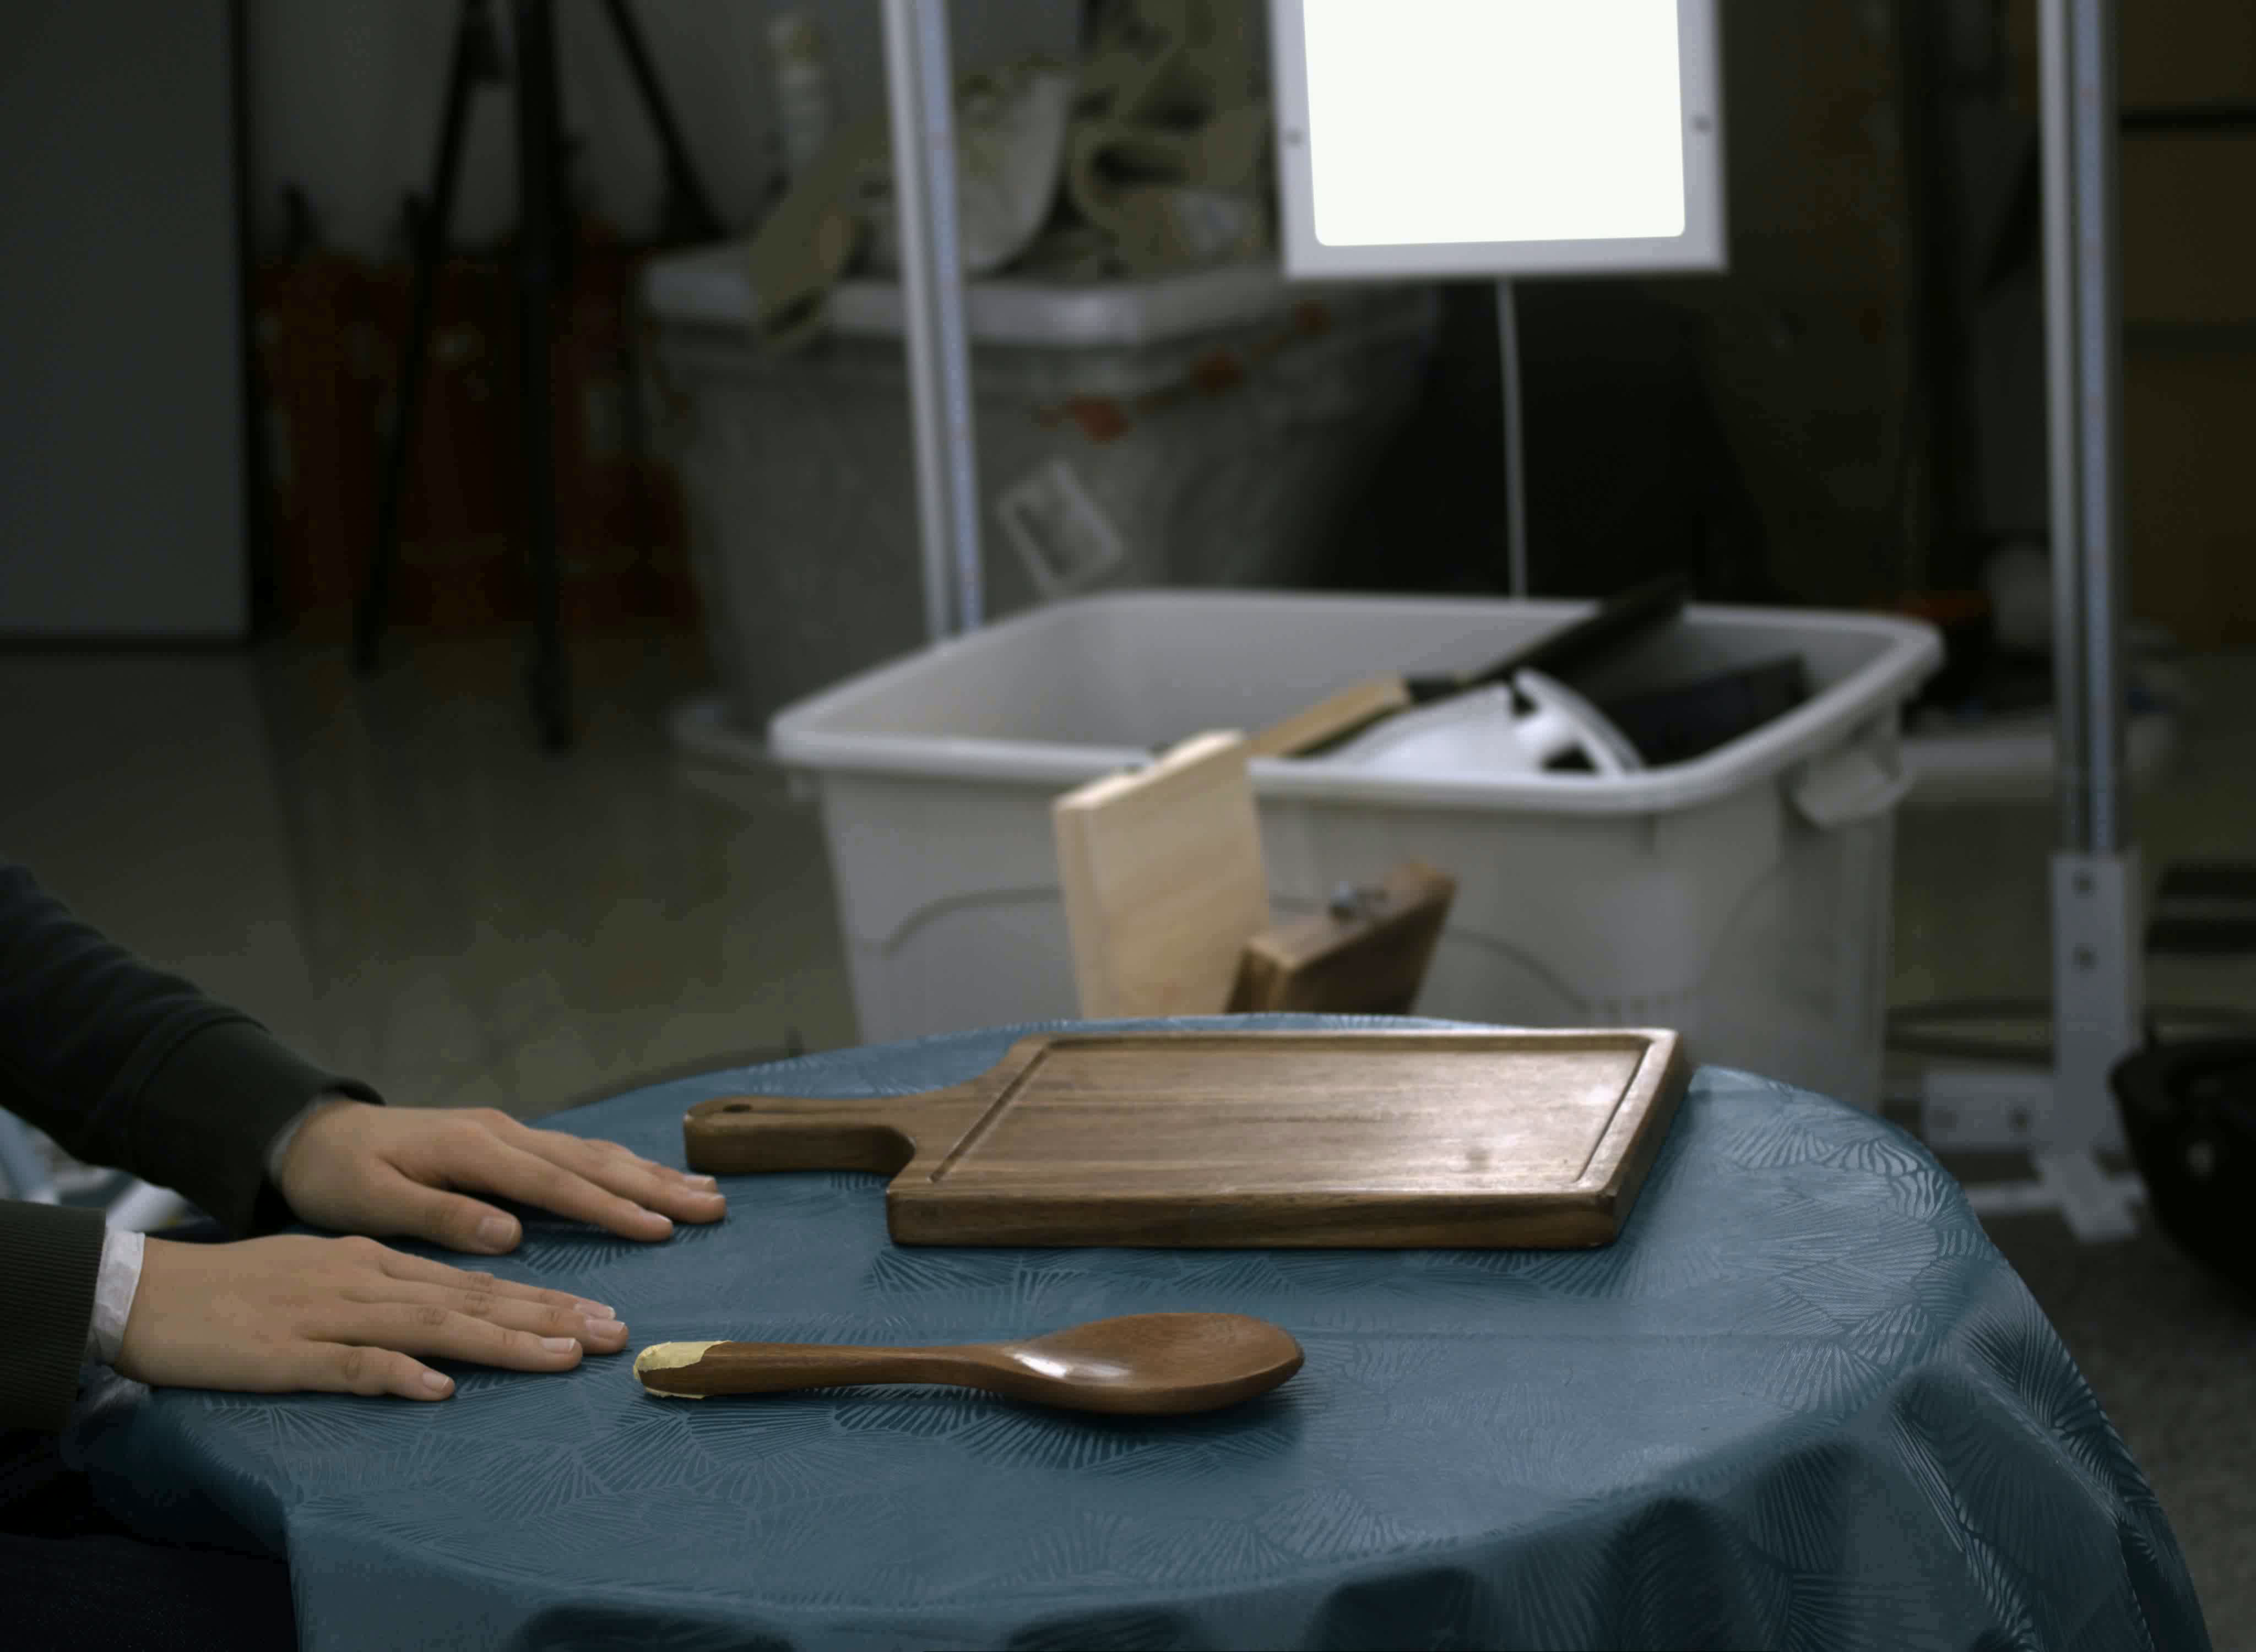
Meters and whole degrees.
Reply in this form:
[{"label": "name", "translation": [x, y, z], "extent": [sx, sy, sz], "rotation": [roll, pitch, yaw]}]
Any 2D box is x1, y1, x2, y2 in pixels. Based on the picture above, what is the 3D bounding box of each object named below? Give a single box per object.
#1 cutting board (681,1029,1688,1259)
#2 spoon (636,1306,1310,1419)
[{"label": "cutting board", "translation": [0.012, 0.109, 1.928], "extent": [0.356, 0.023, 0.198], "rotation": [-1, 15, 16]}, {"label": "spoon", "translation": [-0.049, 0.167, 1.710], "extent": [0.218, 0.017, 0.074], "rotation": [0, 16, 16]}]
